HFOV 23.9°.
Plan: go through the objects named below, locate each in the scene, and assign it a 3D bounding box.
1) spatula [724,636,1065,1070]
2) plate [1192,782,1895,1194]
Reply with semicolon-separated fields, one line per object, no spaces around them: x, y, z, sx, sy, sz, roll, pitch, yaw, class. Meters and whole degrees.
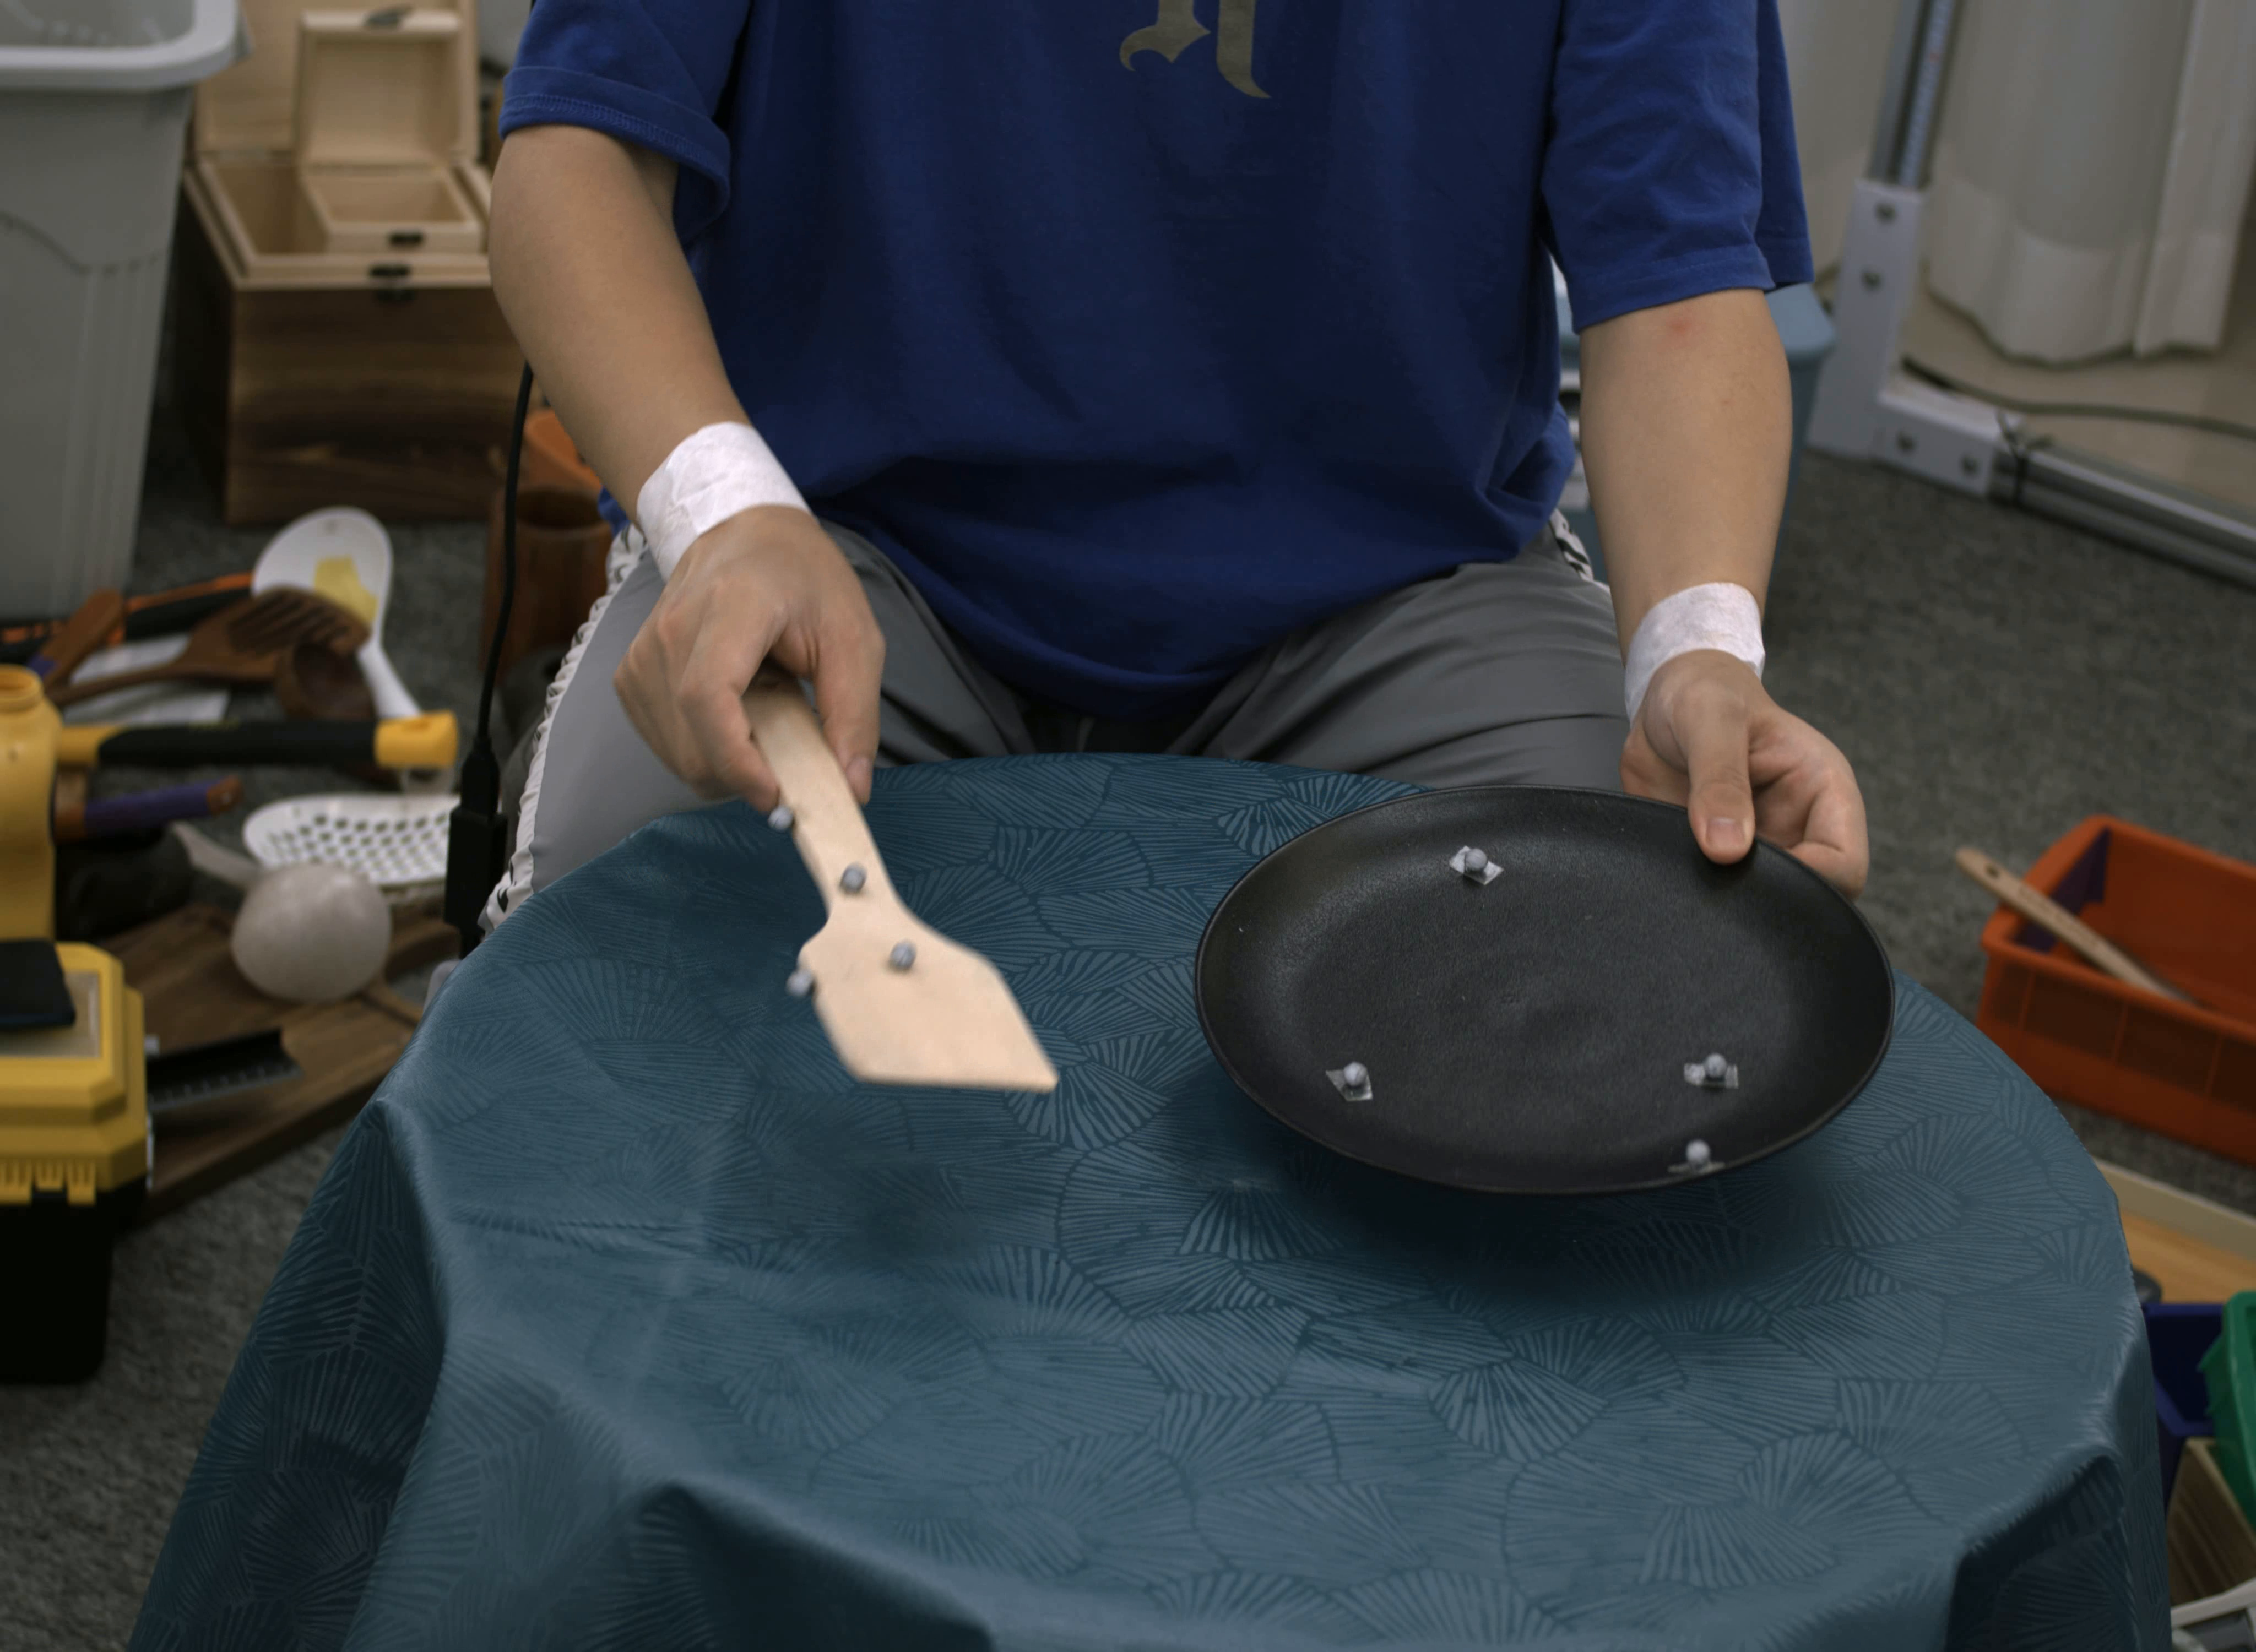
-0.095;0.006;1.837;0.072;0.010;0.295;3;29;-21;spatula
0.143;0.059;1.847;0.244;0.023;0.246;-1;34;1;plate
